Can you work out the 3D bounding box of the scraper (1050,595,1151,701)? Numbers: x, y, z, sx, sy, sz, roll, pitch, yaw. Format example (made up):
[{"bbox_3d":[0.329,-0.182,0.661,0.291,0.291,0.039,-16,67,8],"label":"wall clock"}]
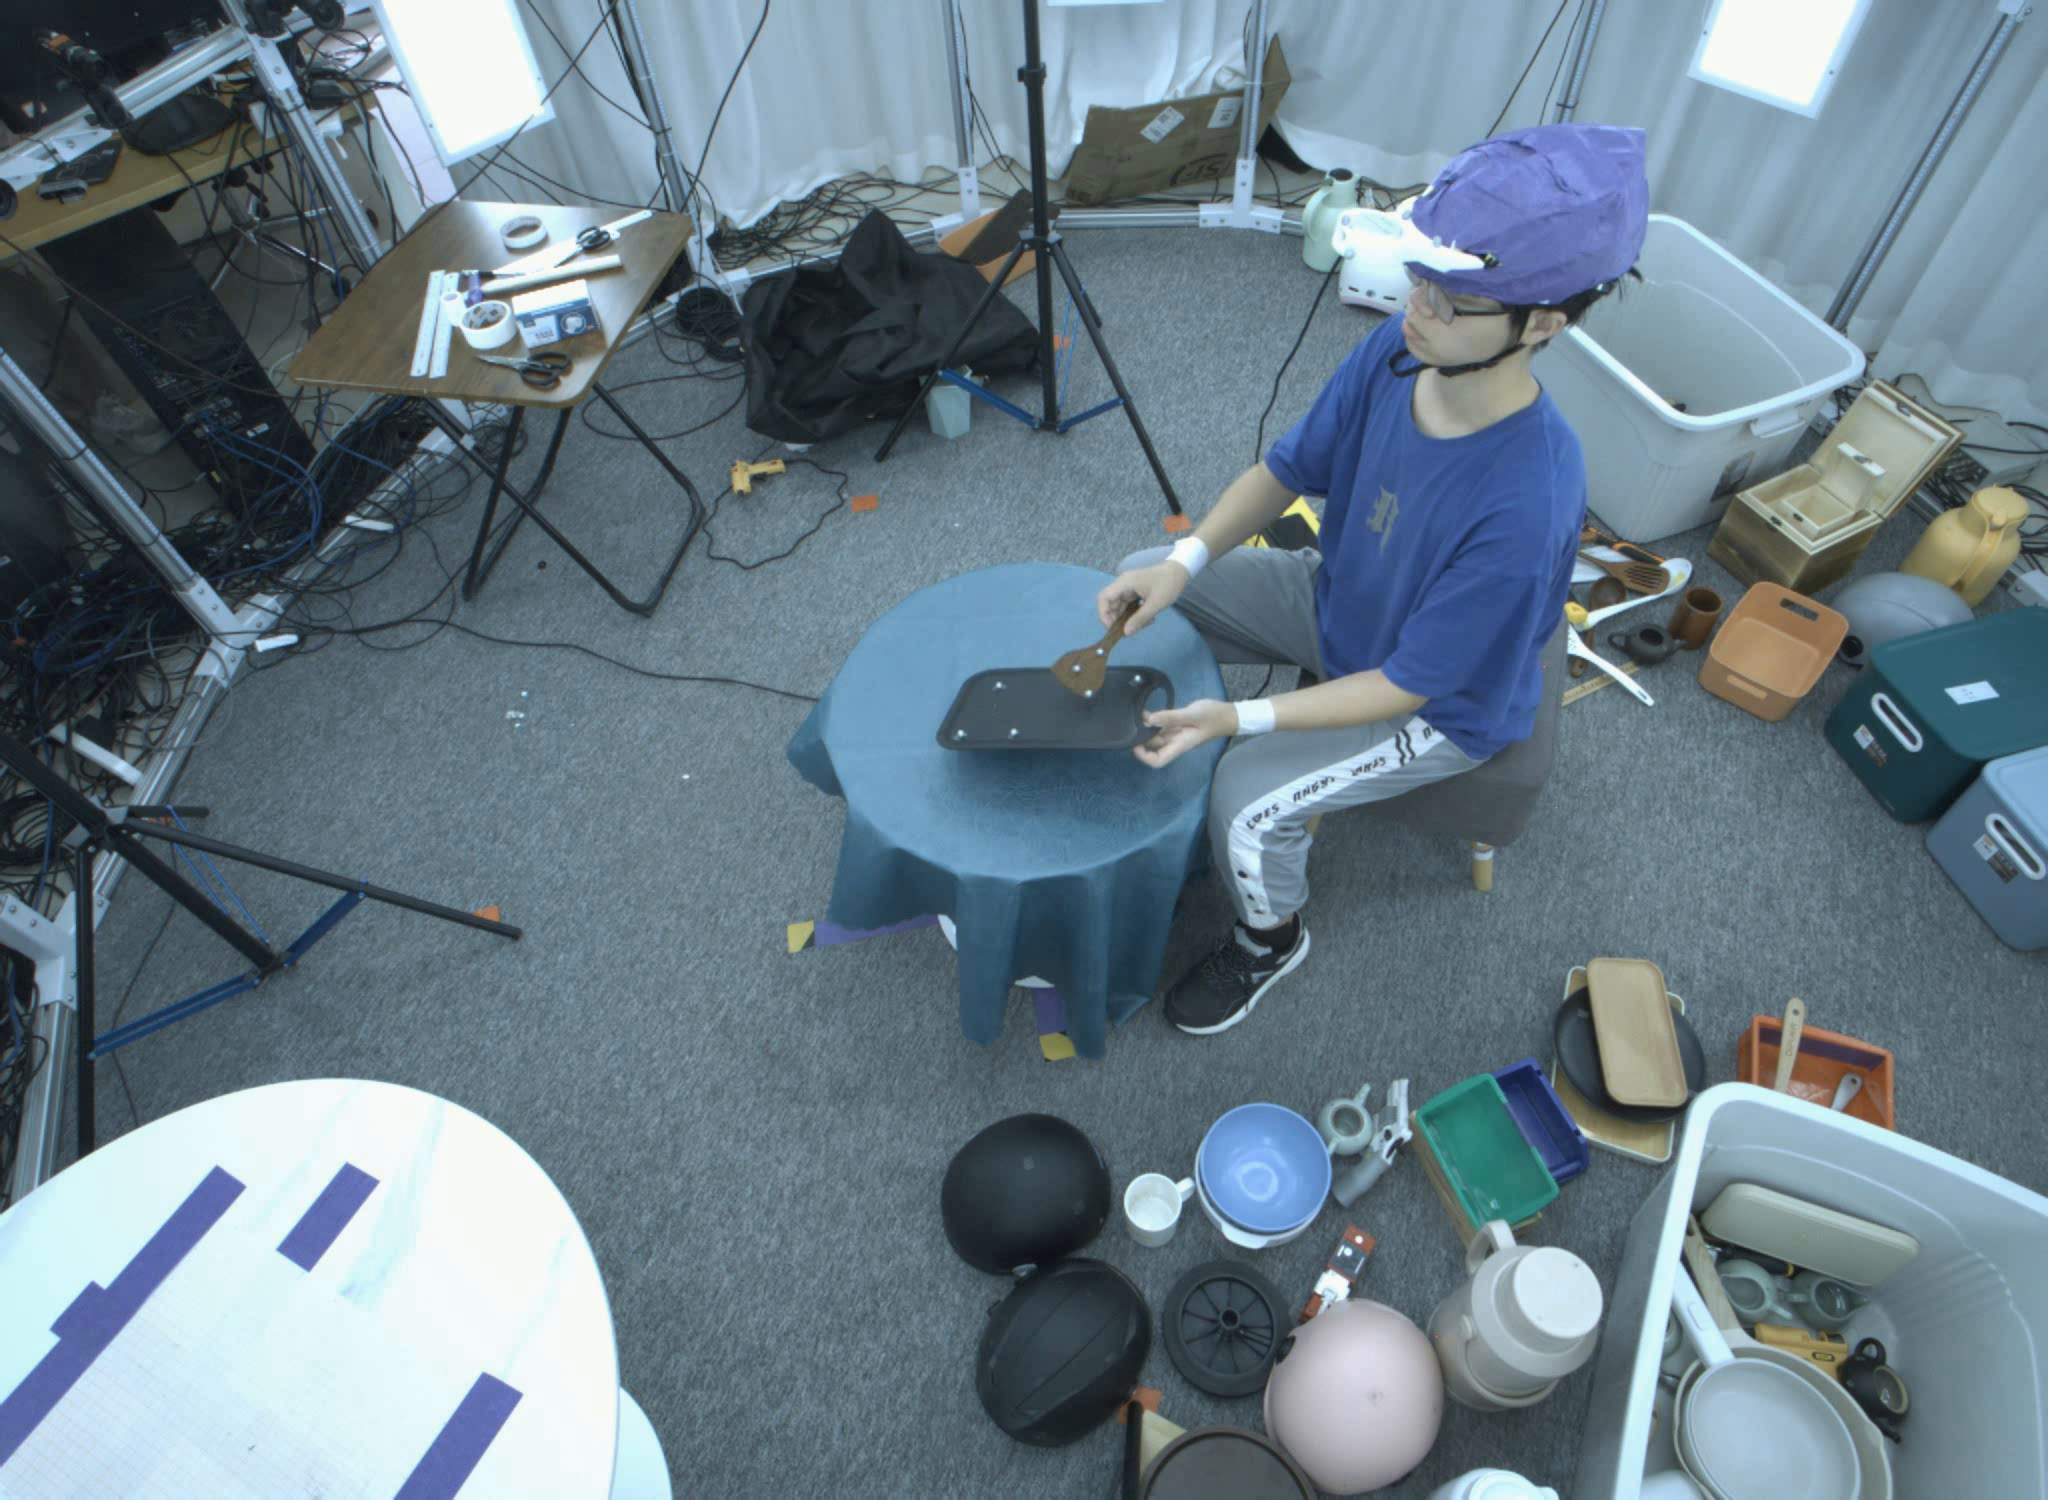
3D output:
[{"bbox_3d":[0.117,-0.152,1.742,0.076,0.011,0.212,41,59,0],"label":"scraper"}]

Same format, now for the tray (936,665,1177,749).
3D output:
[{"bbox_3d":[0.049,-0.063,1.712,0.322,0.010,0.210,1,35,16],"label":"tray"}]
